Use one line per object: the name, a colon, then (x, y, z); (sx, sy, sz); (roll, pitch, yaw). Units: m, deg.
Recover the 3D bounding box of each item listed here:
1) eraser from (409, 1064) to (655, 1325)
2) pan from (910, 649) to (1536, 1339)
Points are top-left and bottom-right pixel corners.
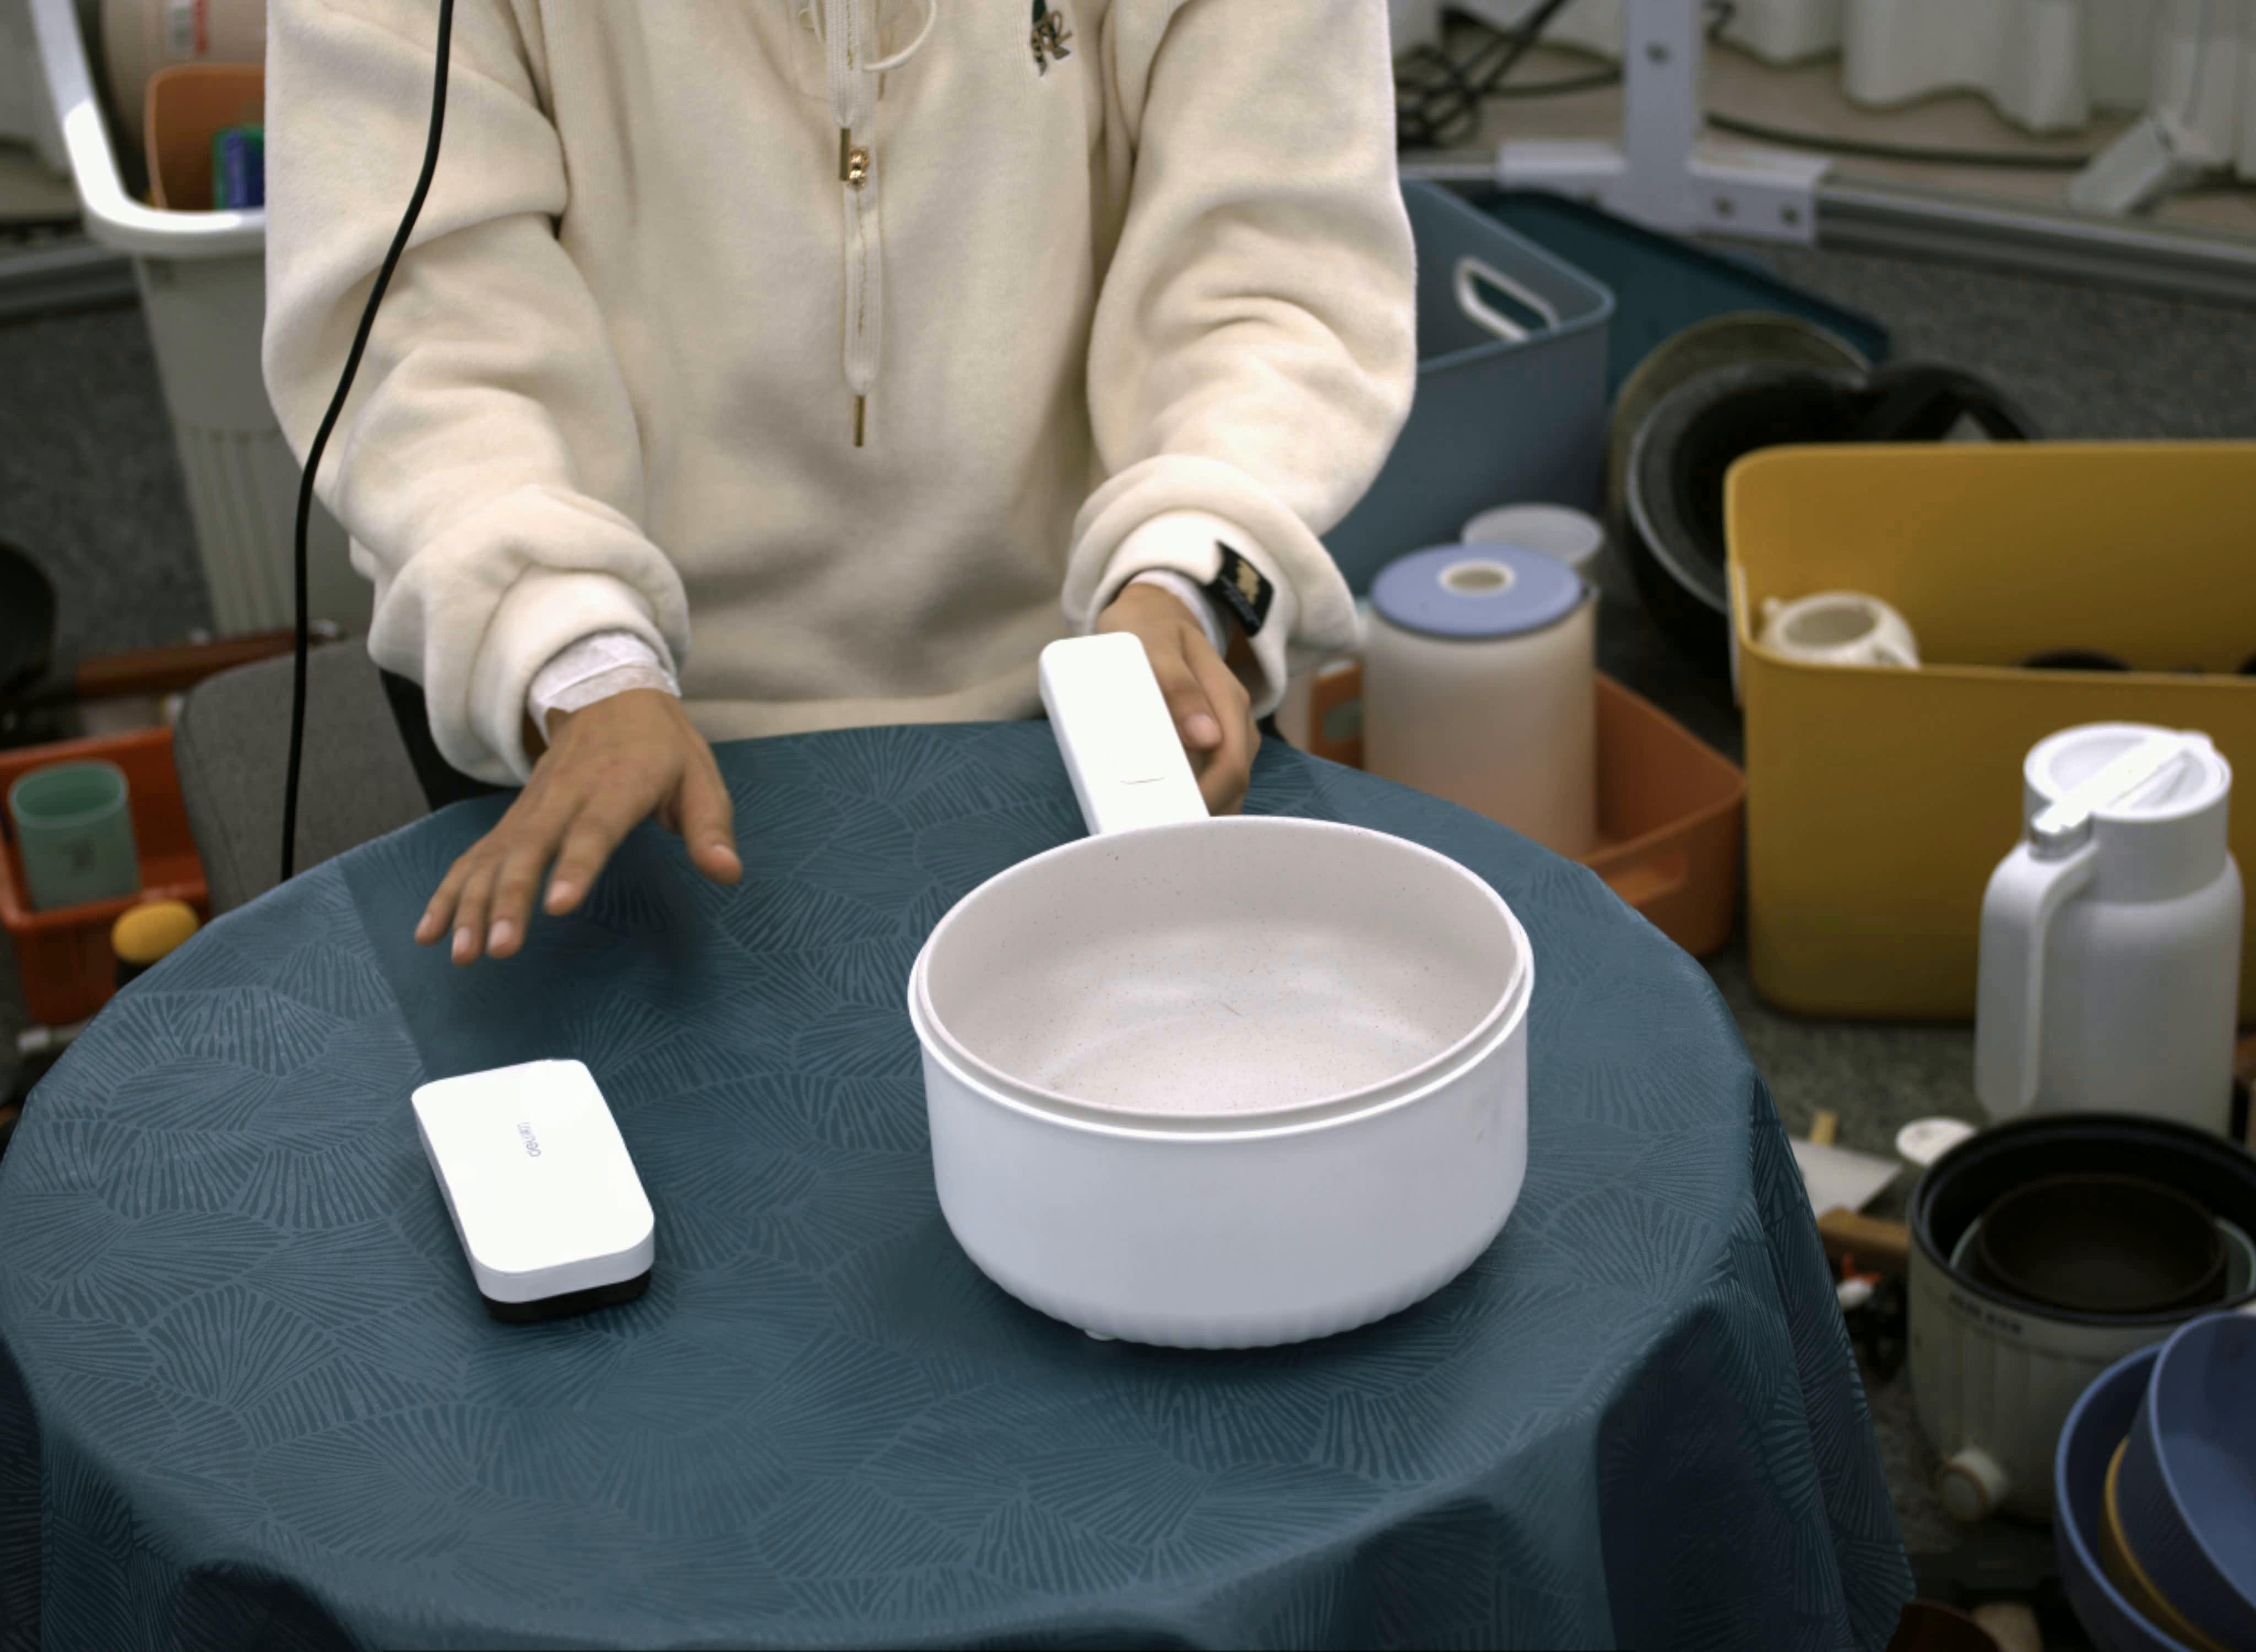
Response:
eraser: (-0.196, 0.118, 1.856); (0.063, 0.034, 0.132); (-8, 28, -15)
pan: (0.019, 0.053, 1.886); (0.201, 0.101, 0.359); (-6, 25, -8)
